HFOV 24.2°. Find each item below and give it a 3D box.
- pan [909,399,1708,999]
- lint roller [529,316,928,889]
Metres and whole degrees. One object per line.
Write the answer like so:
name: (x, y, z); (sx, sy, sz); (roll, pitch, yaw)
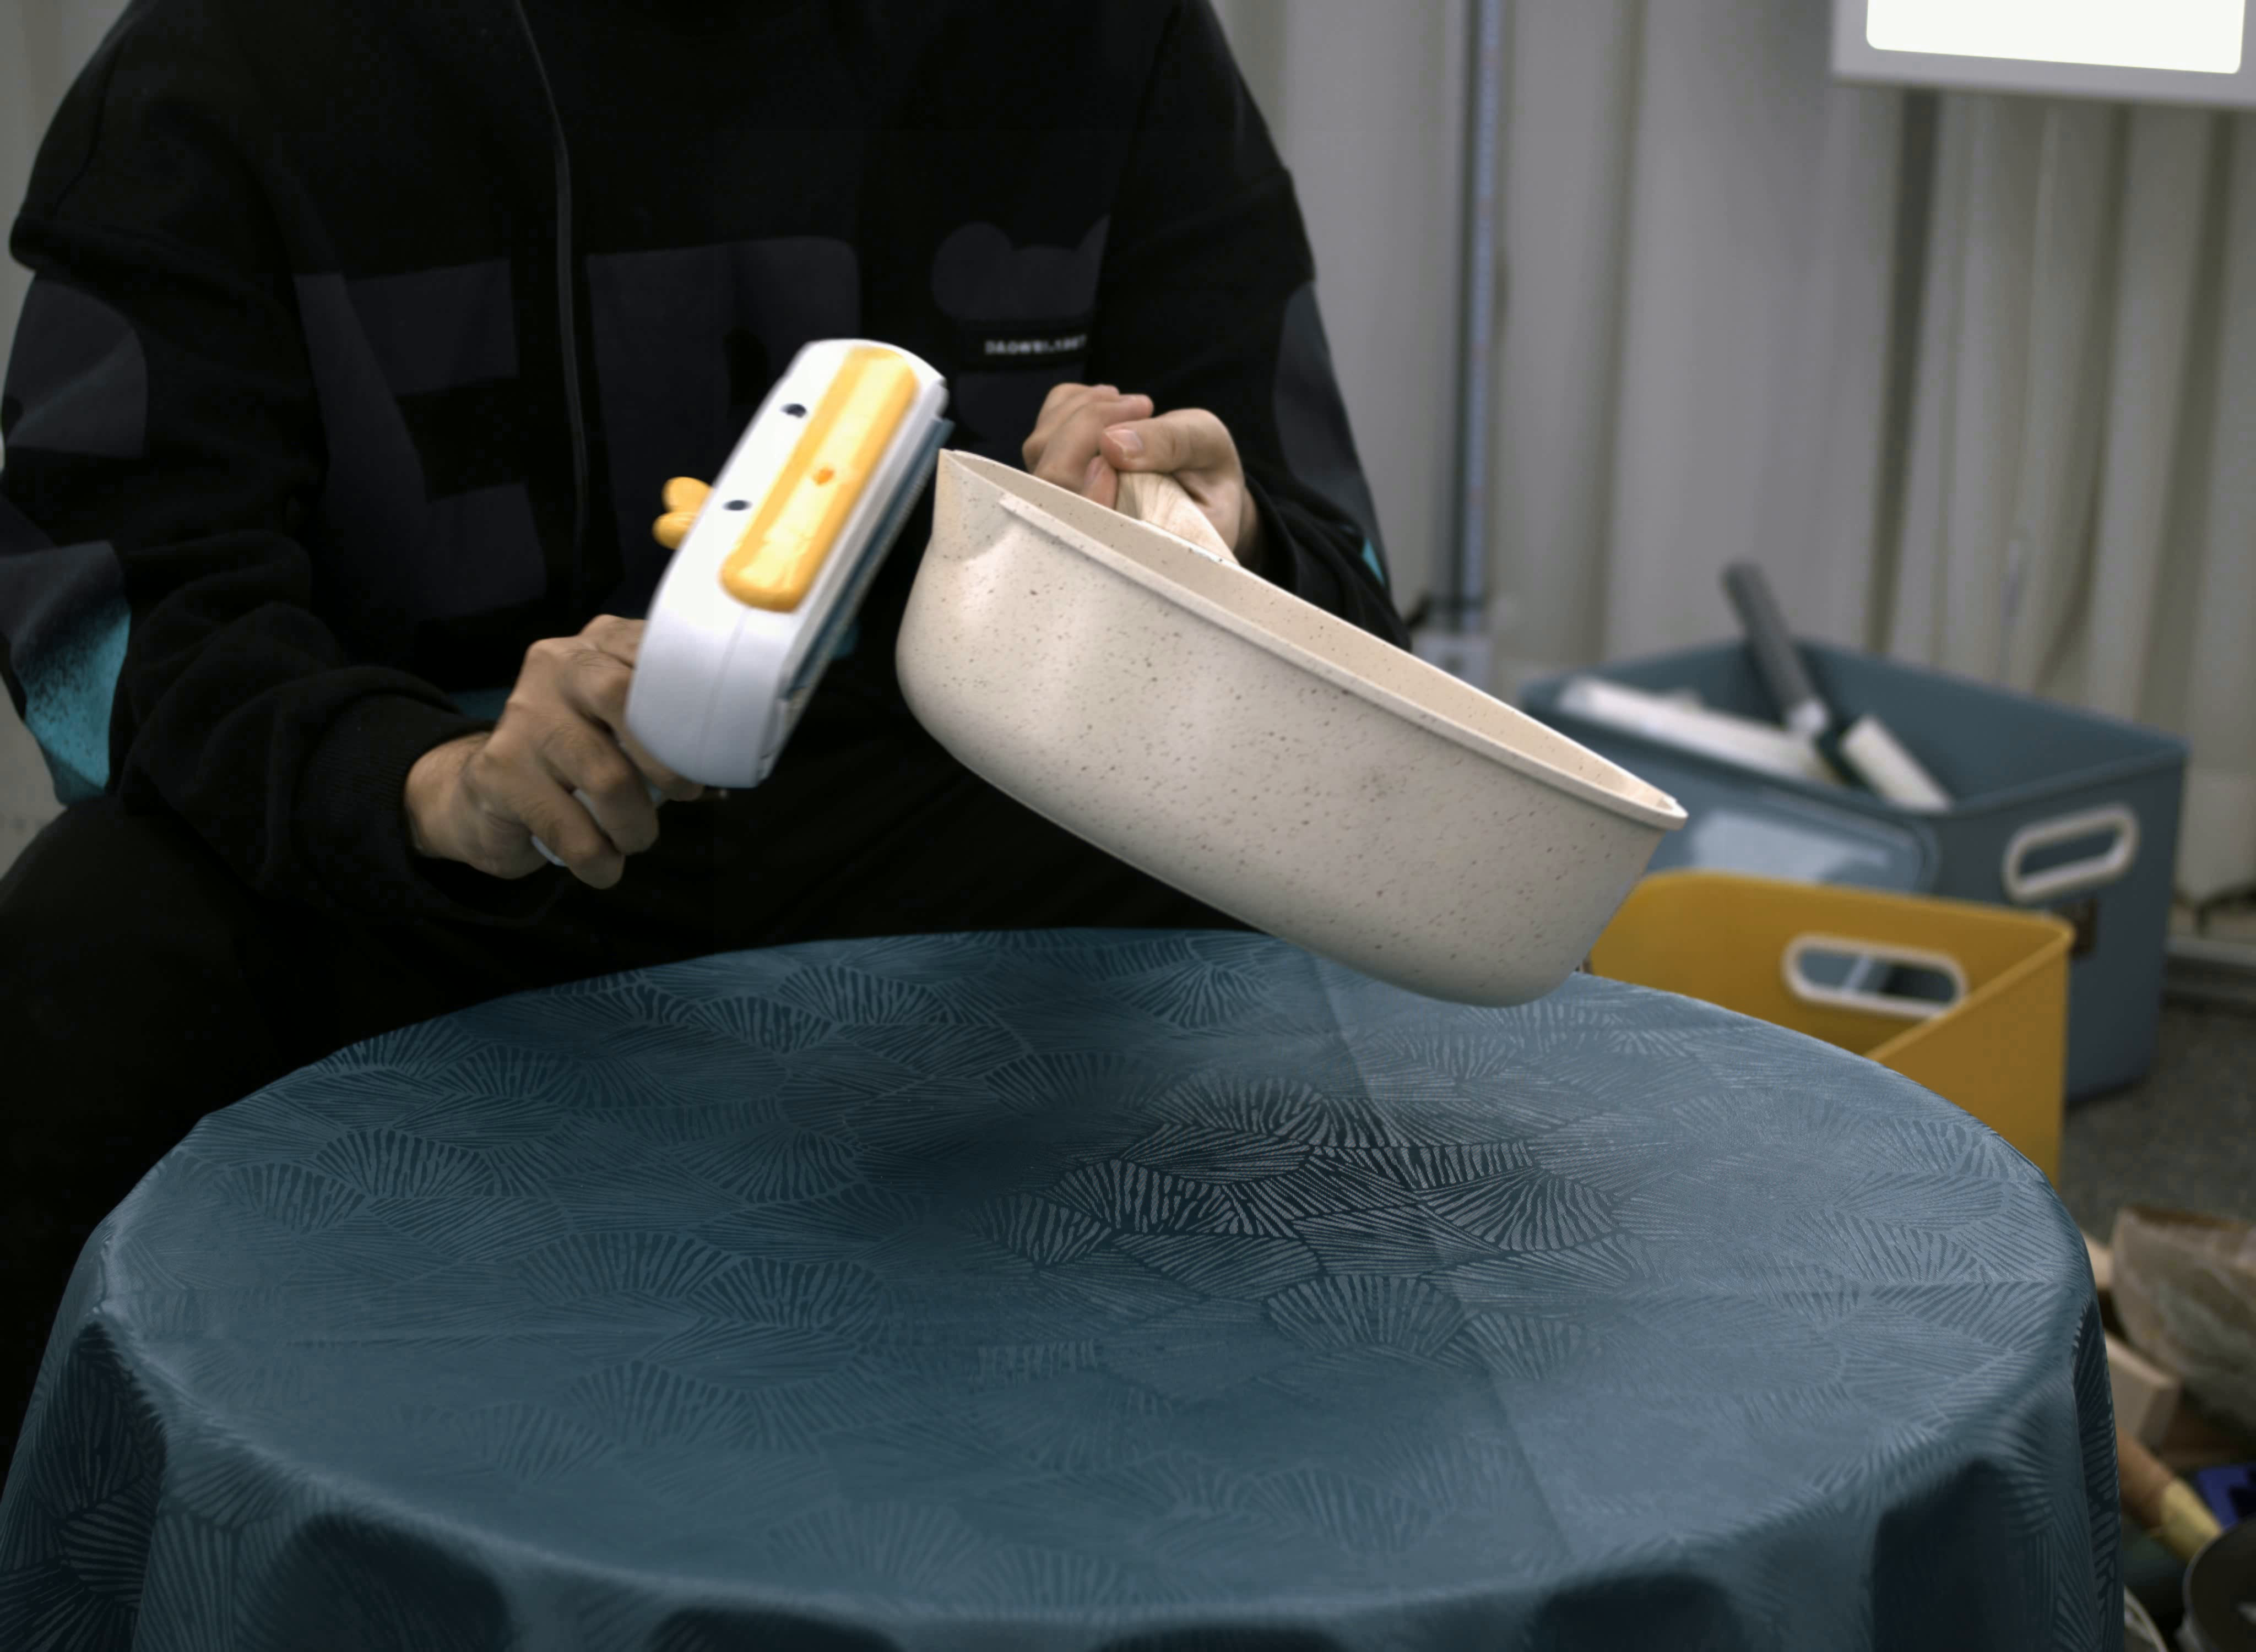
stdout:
pan: (0.024, -0.053, 1.693); (0.265, 0.102, 0.430); (21, 7, -21)
lint roller: (-0.134, -0.051, 1.668); (0.074, 0.193, 0.191); (22, 36, -6)
